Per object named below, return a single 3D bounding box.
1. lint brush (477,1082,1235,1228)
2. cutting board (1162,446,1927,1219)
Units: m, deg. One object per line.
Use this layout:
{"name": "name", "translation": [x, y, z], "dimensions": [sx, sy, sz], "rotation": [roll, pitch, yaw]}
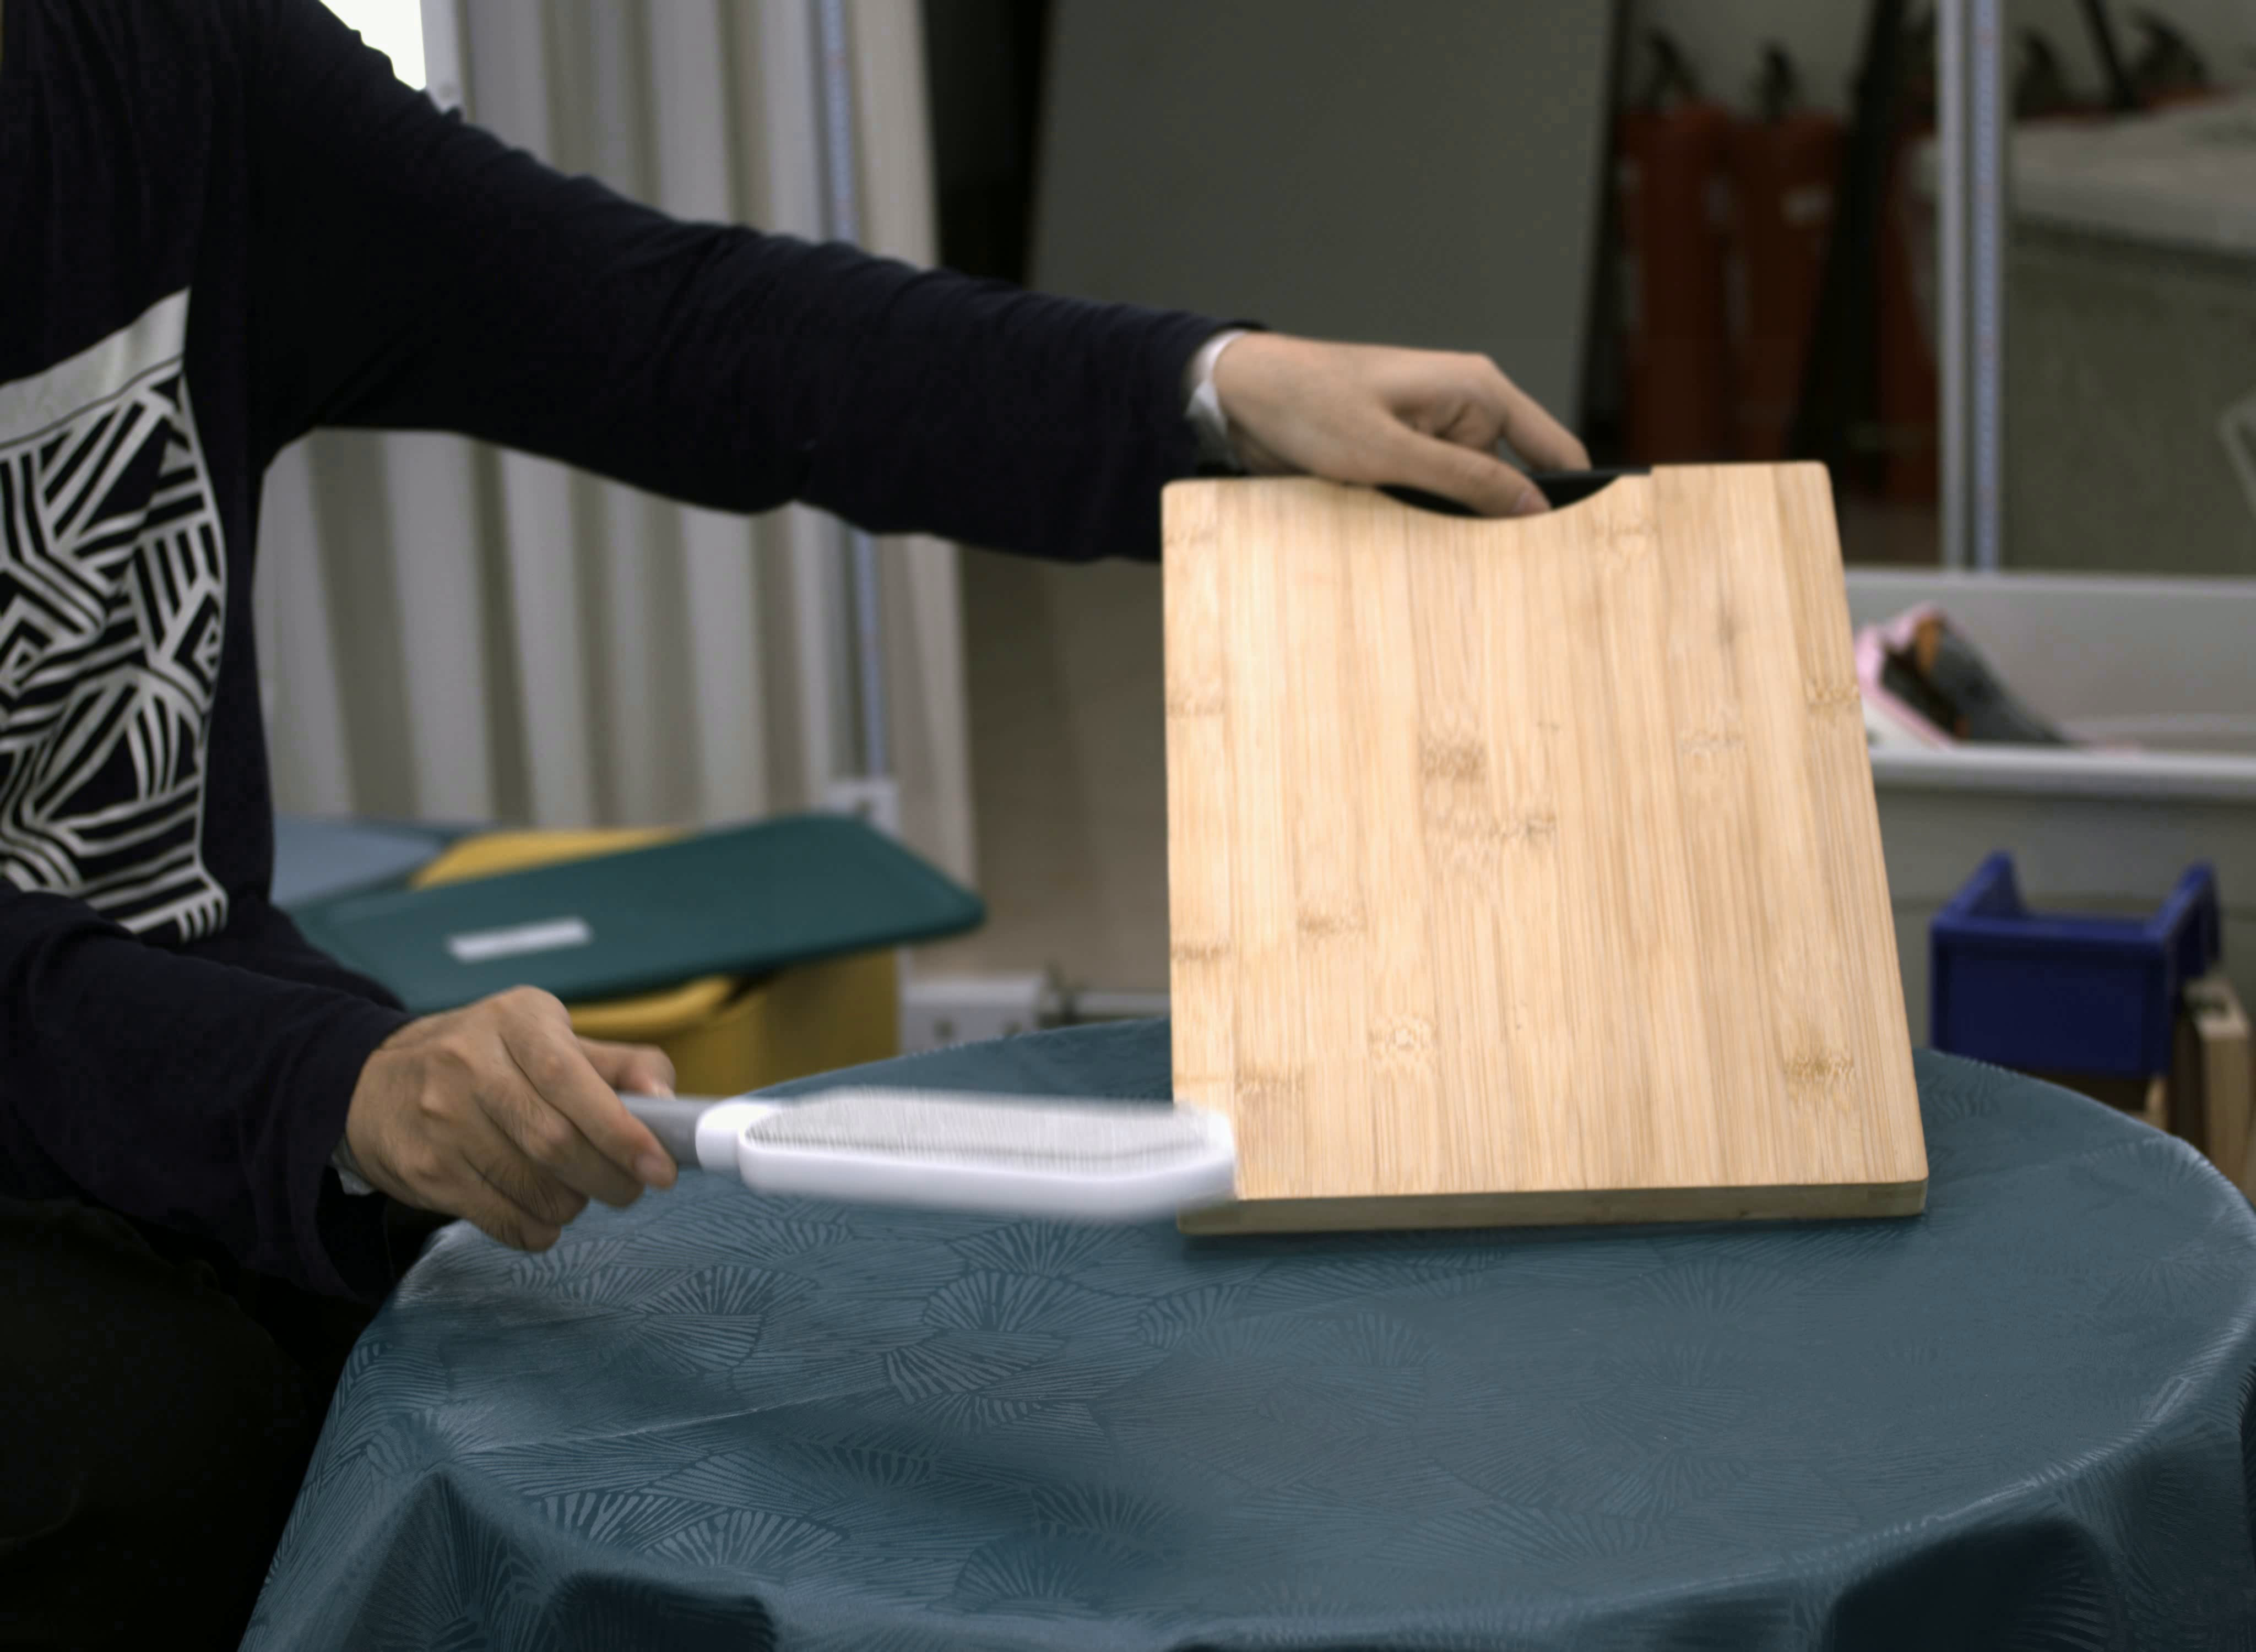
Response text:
{"name": "lint brush", "translation": [-0.087, 0.093, 1.590], "dimensions": [0.311, 0.021, 0.059], "rotation": [2, 19, 44]}
{"name": "cutting board", "translation": [0.132, -0.003, 1.820], "dimensions": [0.247, 0.023, 0.351], "rotation": [-3, 45, 1]}
